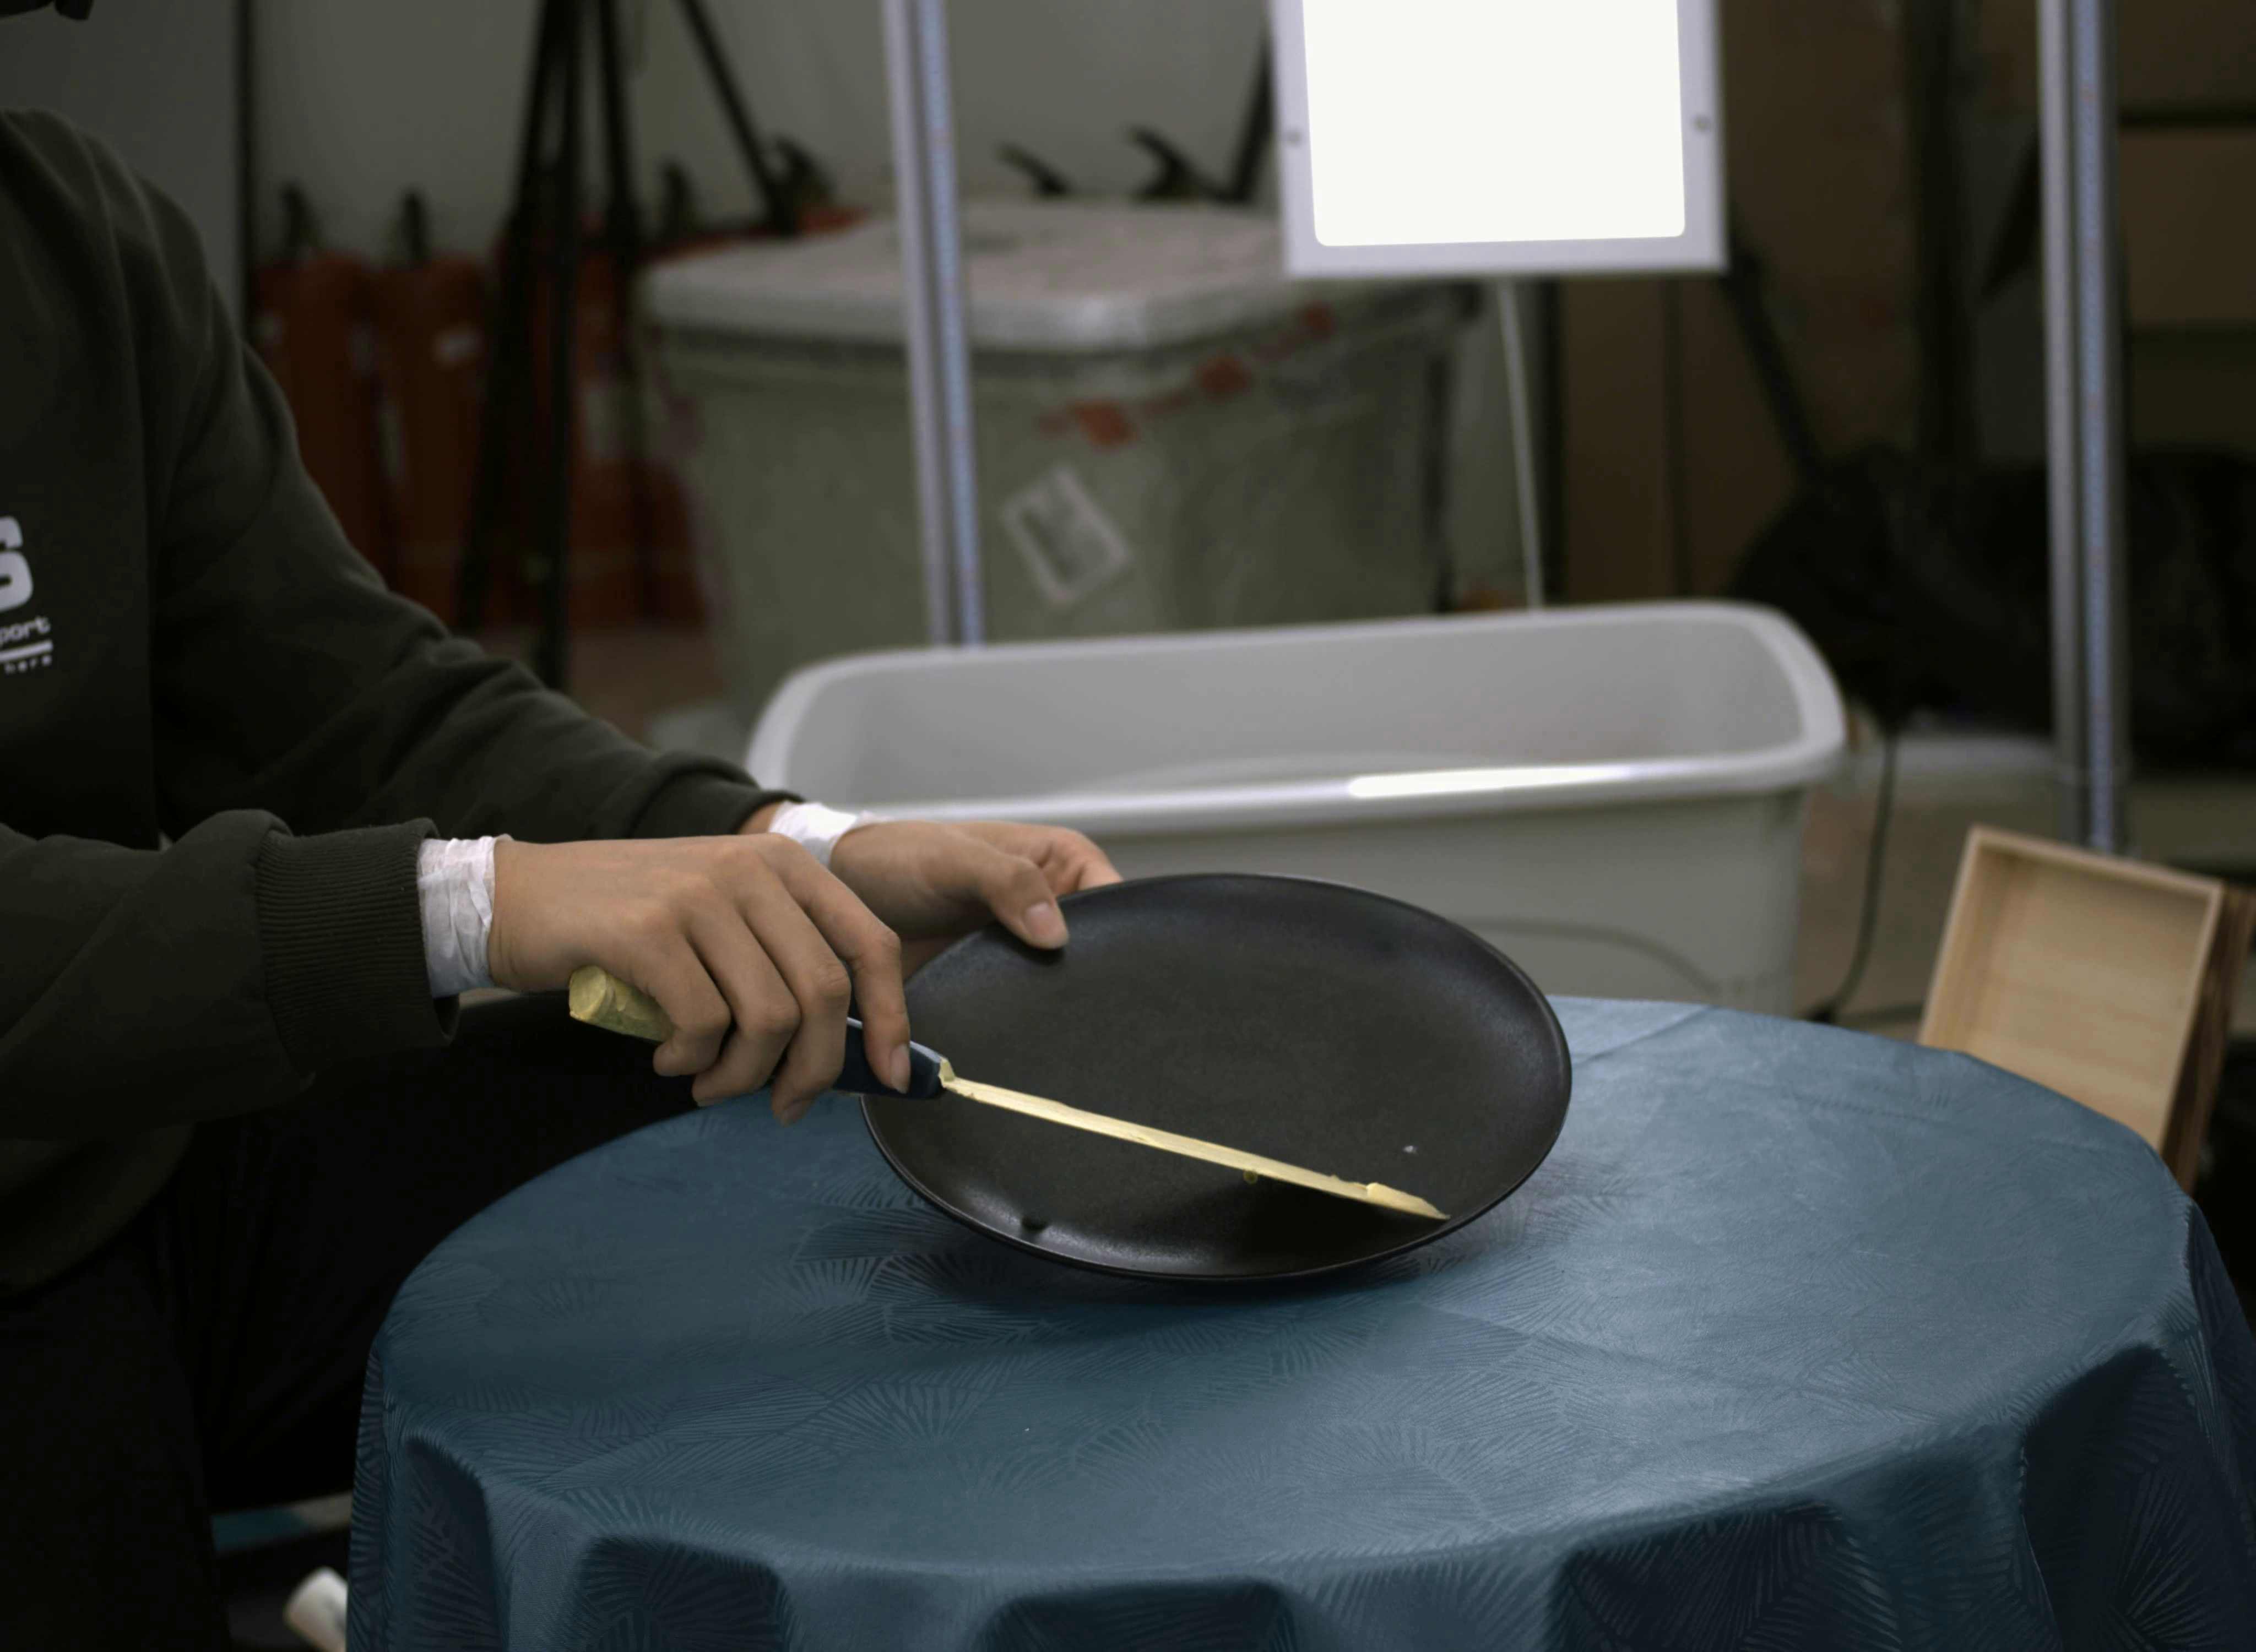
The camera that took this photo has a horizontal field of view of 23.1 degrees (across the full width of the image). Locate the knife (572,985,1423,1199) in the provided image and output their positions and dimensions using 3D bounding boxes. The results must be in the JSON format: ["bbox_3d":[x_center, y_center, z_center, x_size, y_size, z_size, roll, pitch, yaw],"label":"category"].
[{"bbox_3d":[-0.038,0.091,1.778,0.286,0.027,0.082,13,-1,-13],"label":"knife"}]

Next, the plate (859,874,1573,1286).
[{"bbox_3d":[0.030,0.090,1.876,0.244,0.023,0.244,-3,32,0],"label":"plate"}]
